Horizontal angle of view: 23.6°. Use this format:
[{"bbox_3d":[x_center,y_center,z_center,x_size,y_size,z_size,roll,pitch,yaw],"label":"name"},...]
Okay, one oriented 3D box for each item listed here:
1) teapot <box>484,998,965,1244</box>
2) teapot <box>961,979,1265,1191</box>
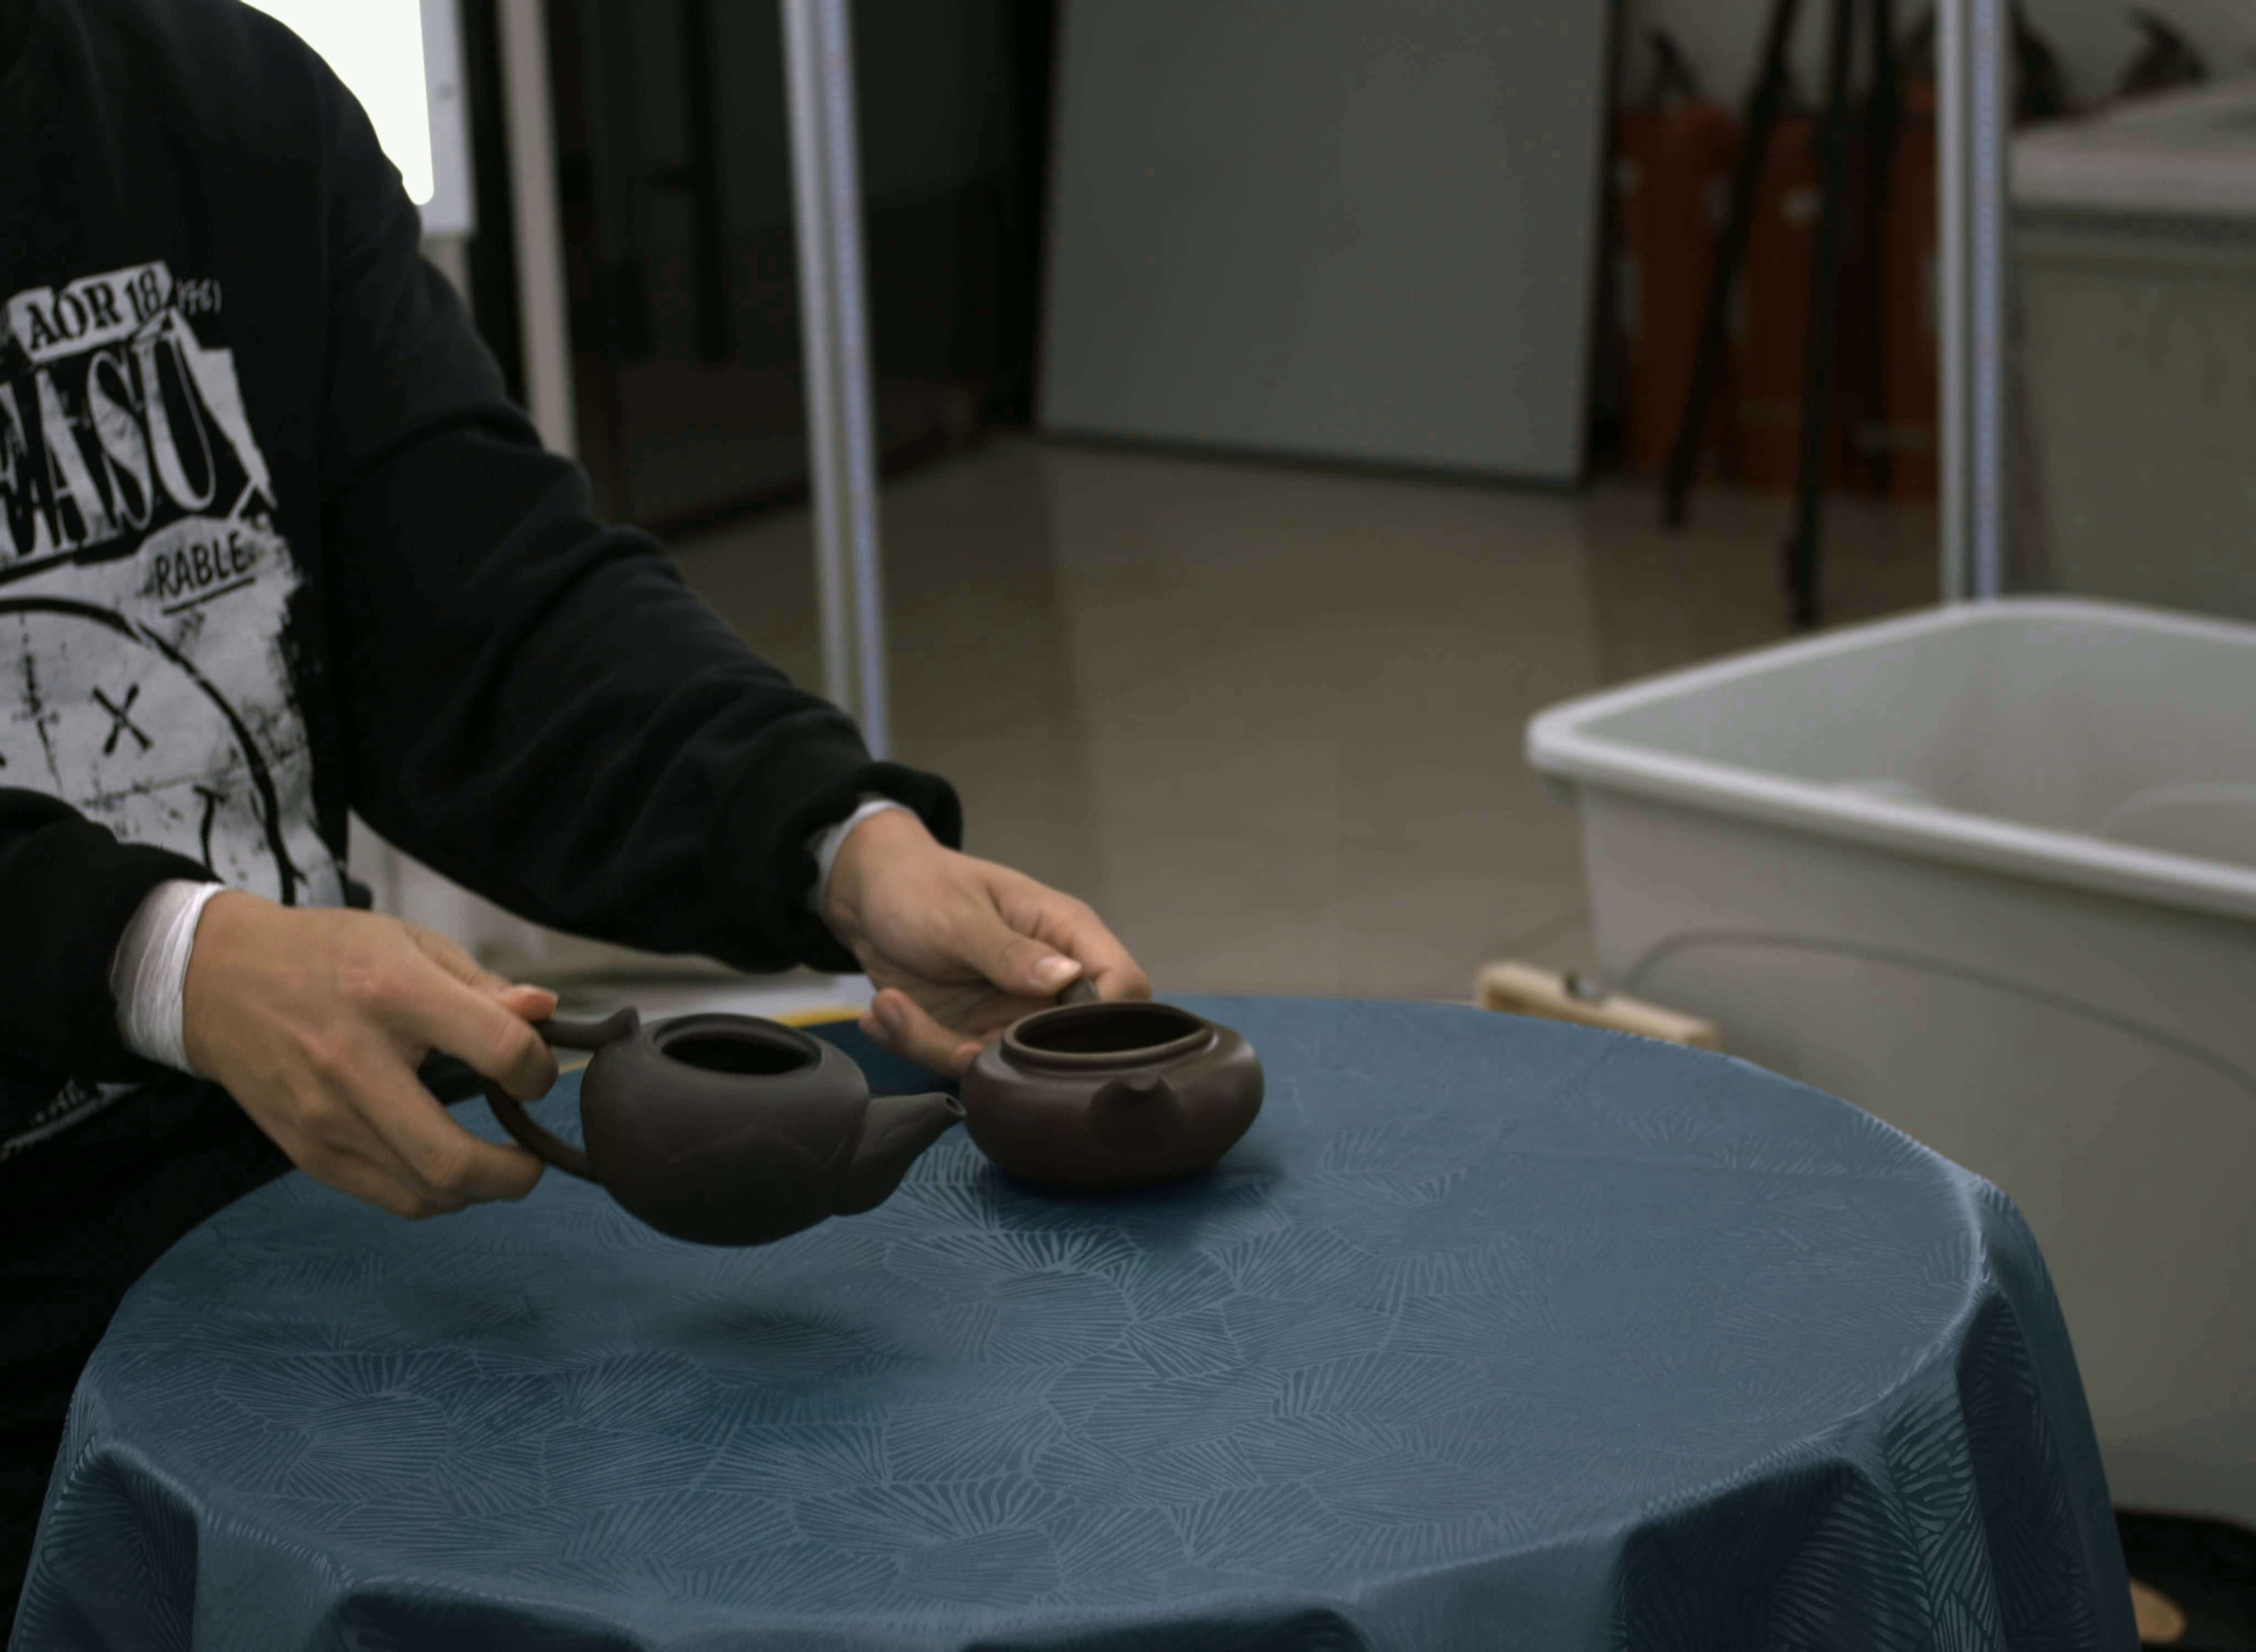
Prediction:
[{"bbox_3d":[-0.126,0.090,1.664,0.153,0.065,0.092,11,14,11],"label":"teapot"},{"bbox_3d":[-0.006,0.087,1.800,0.100,0.054,0.154,-6,13,-13],"label":"teapot"}]
